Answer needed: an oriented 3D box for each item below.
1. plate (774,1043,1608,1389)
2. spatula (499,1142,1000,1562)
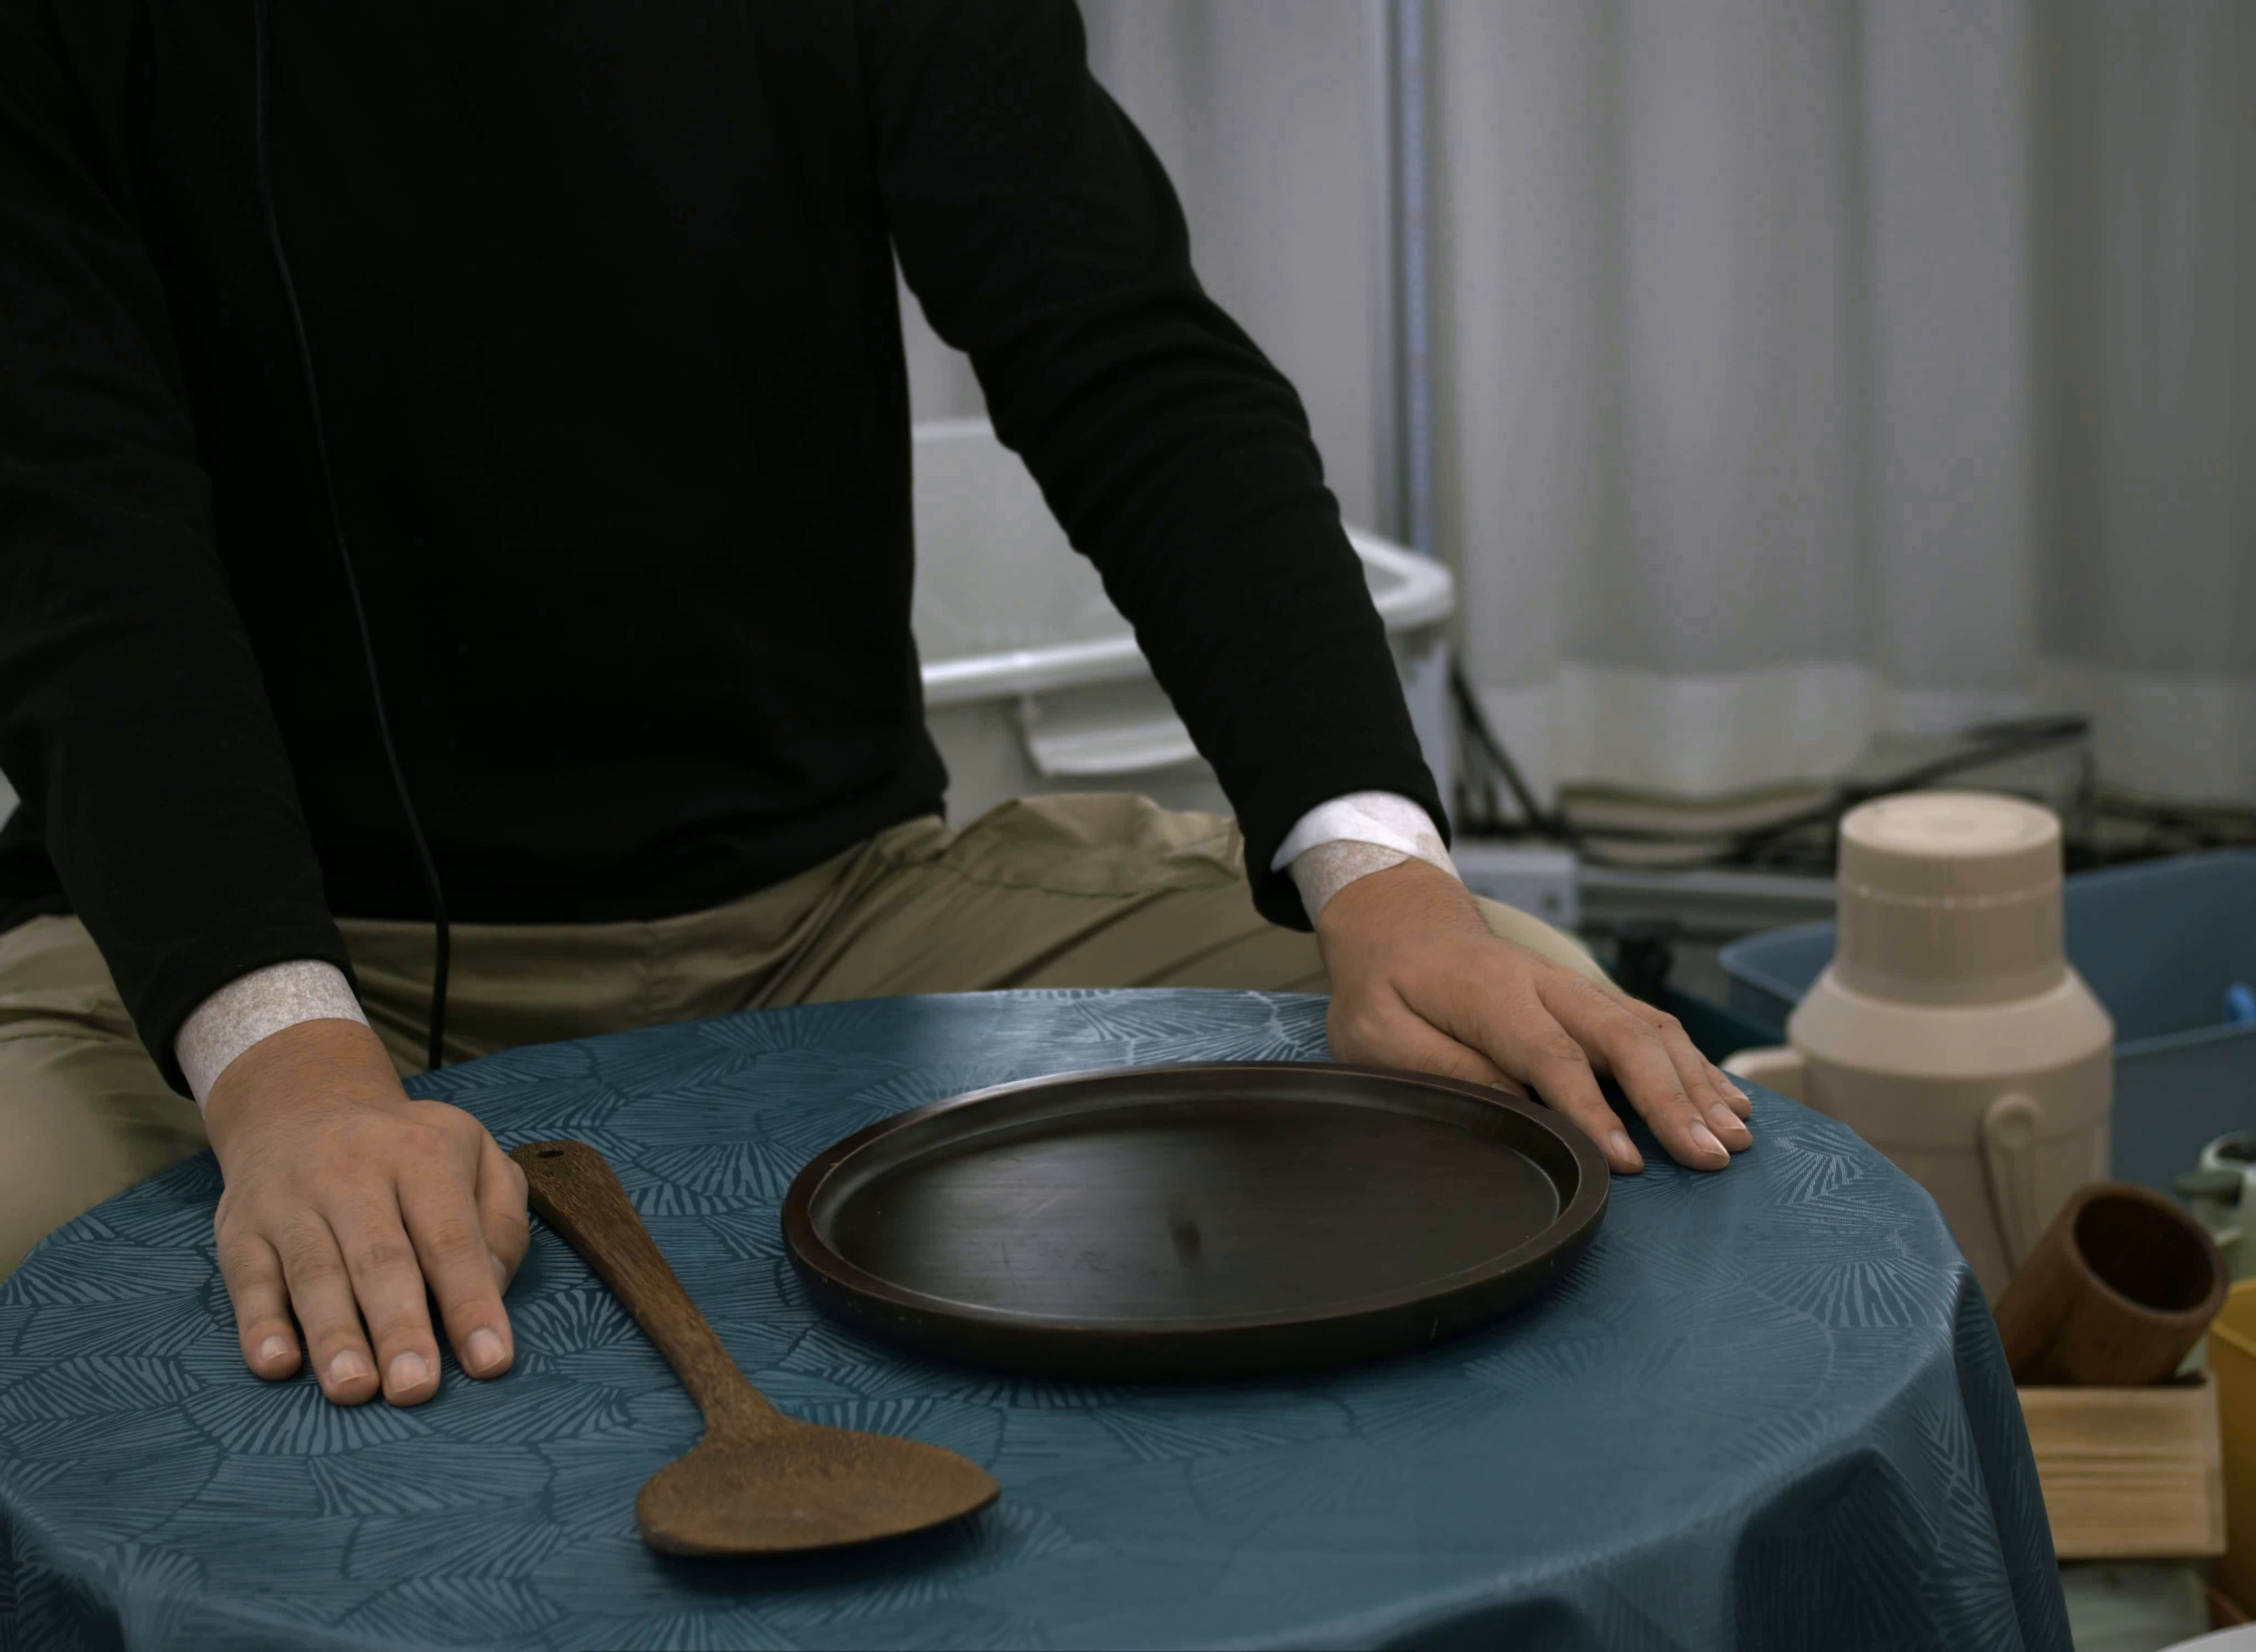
[{"bbox_3d":[0.019,0.118,1.652,0.254,0.029,0.256,-4,15,1],"label":"plate"},{"bbox_3d":[-0.132,0.146,1.592,0.095,0.016,0.389,-7,15,-17],"label":"spatula"}]
